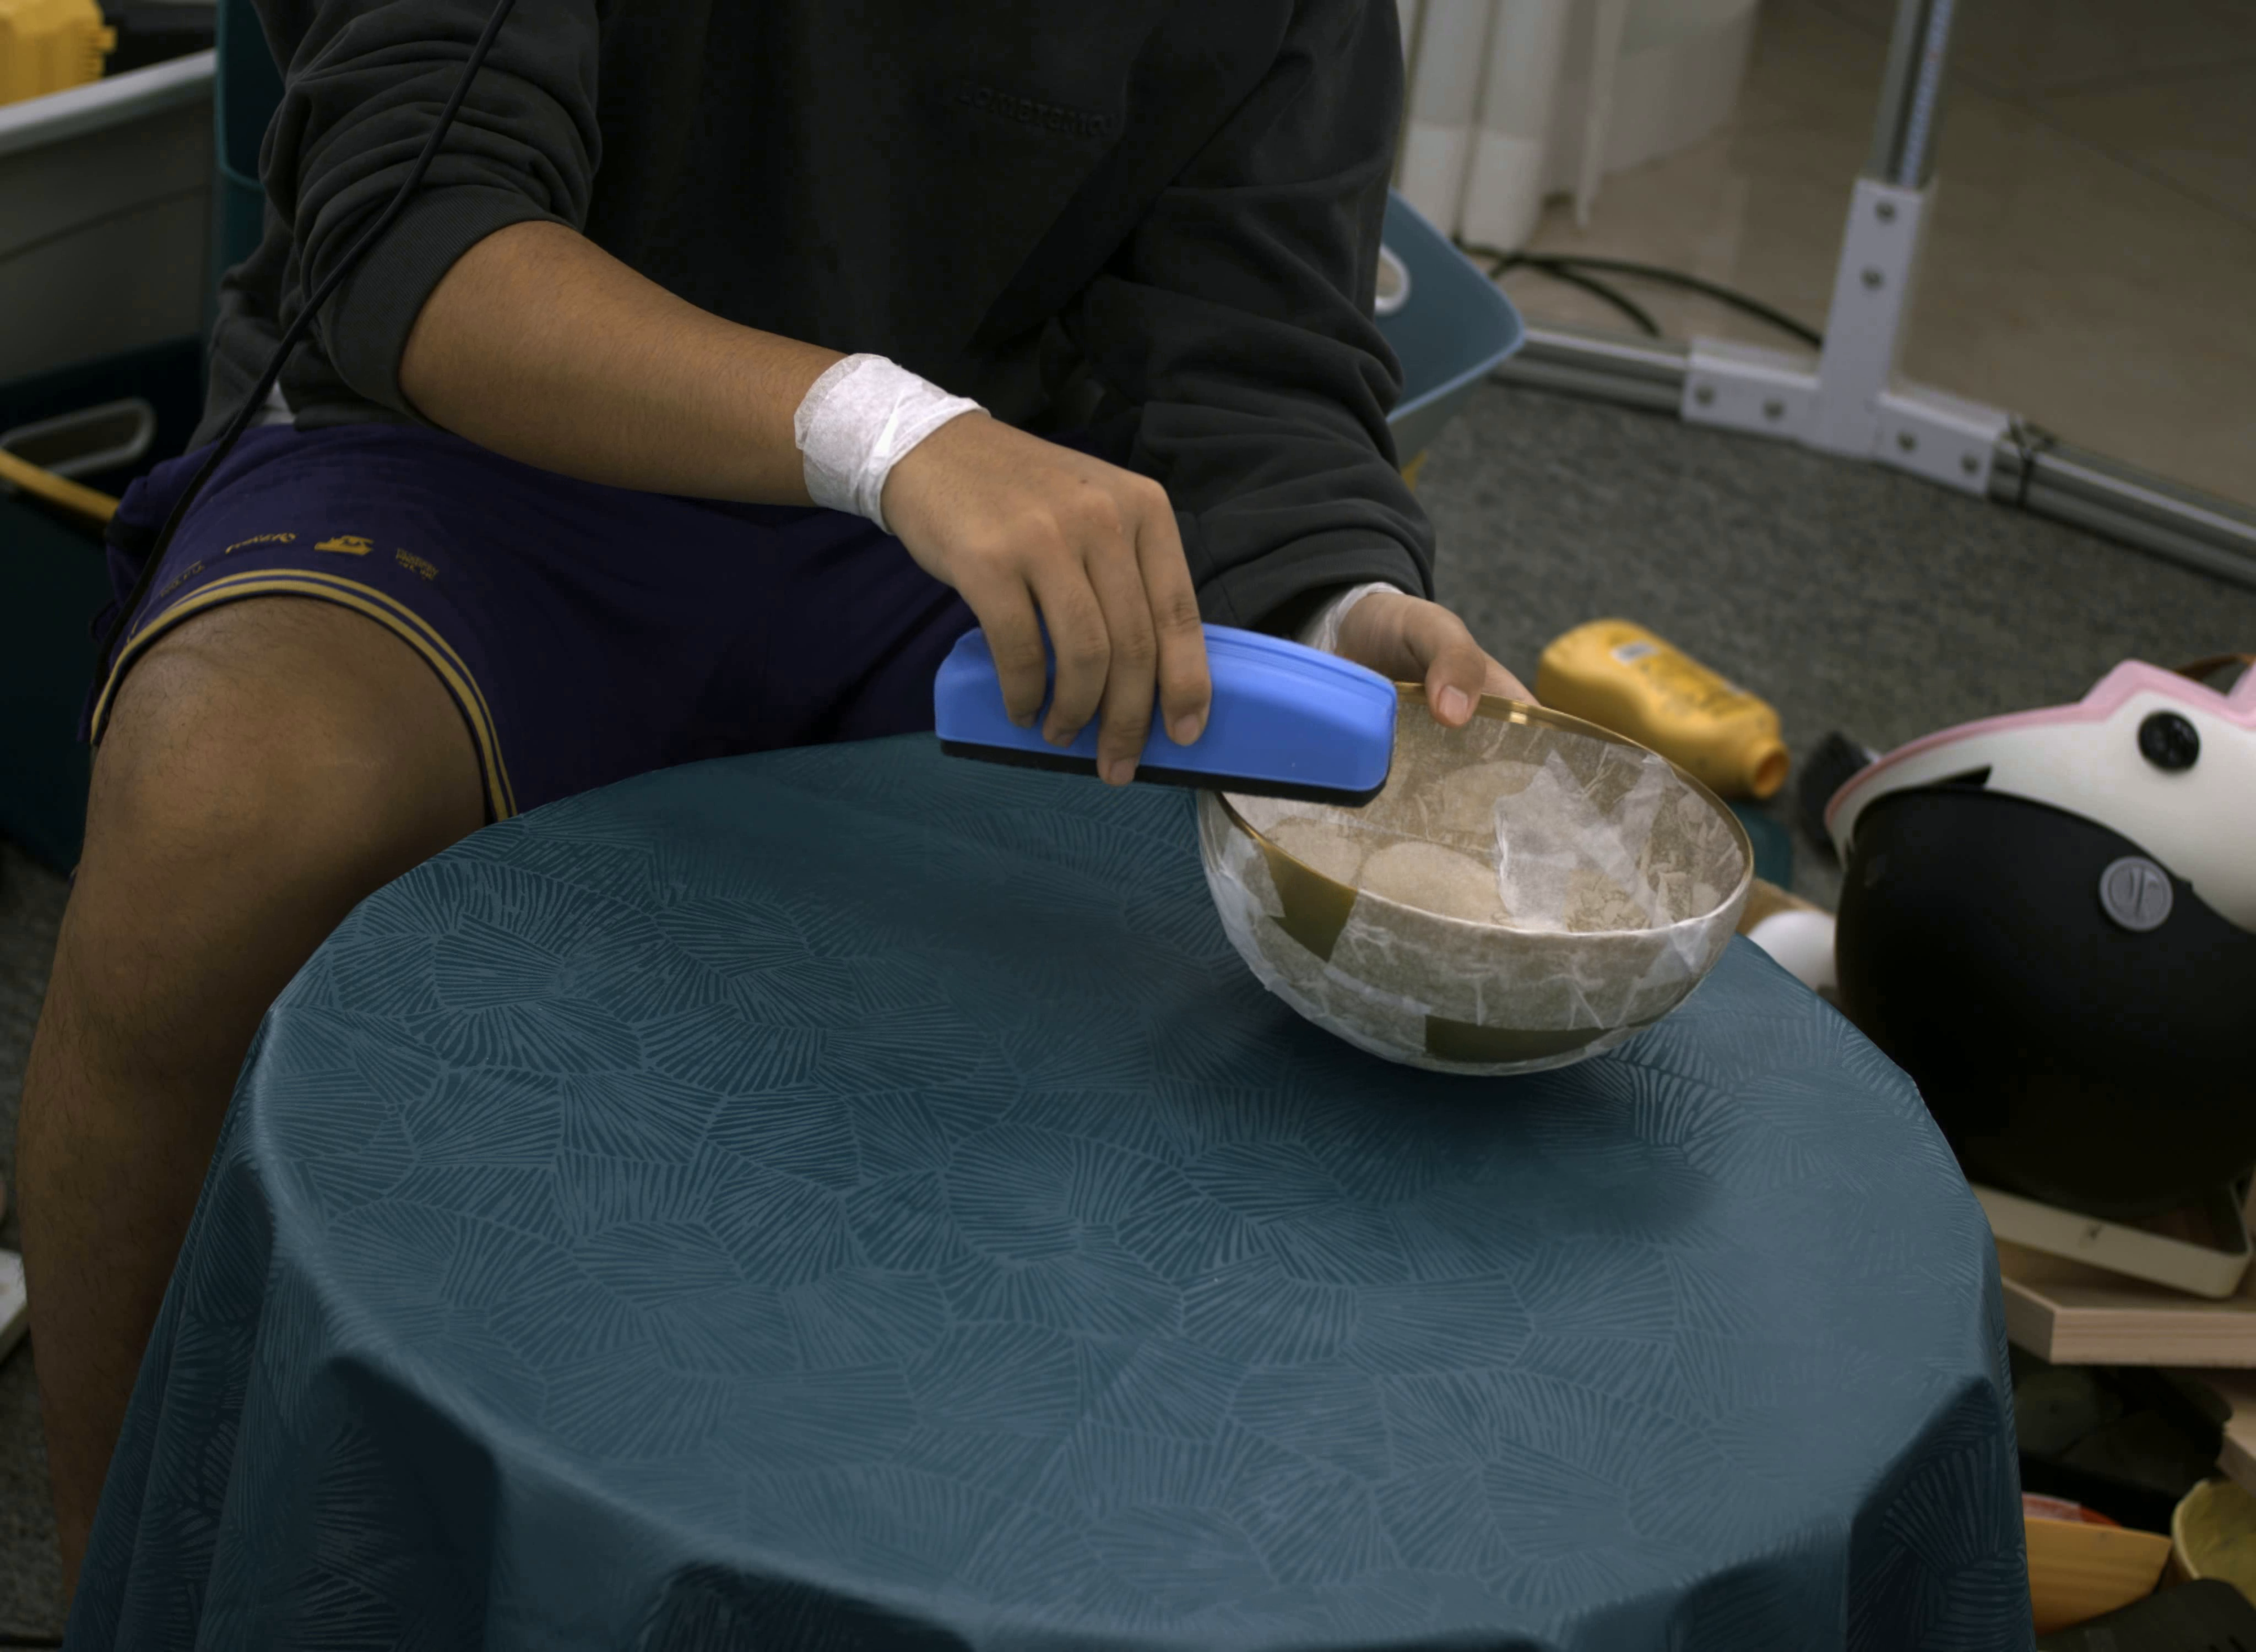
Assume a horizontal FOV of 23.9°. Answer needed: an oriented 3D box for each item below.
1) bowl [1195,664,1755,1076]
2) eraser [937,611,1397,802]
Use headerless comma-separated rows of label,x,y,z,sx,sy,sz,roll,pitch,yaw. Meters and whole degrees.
bowl,0.116,0.028,1.904,0.214,0.094,0.216,8,25,-4
eraser,0.014,-0.046,1.870,0.162,0.047,0.054,6,26,9
